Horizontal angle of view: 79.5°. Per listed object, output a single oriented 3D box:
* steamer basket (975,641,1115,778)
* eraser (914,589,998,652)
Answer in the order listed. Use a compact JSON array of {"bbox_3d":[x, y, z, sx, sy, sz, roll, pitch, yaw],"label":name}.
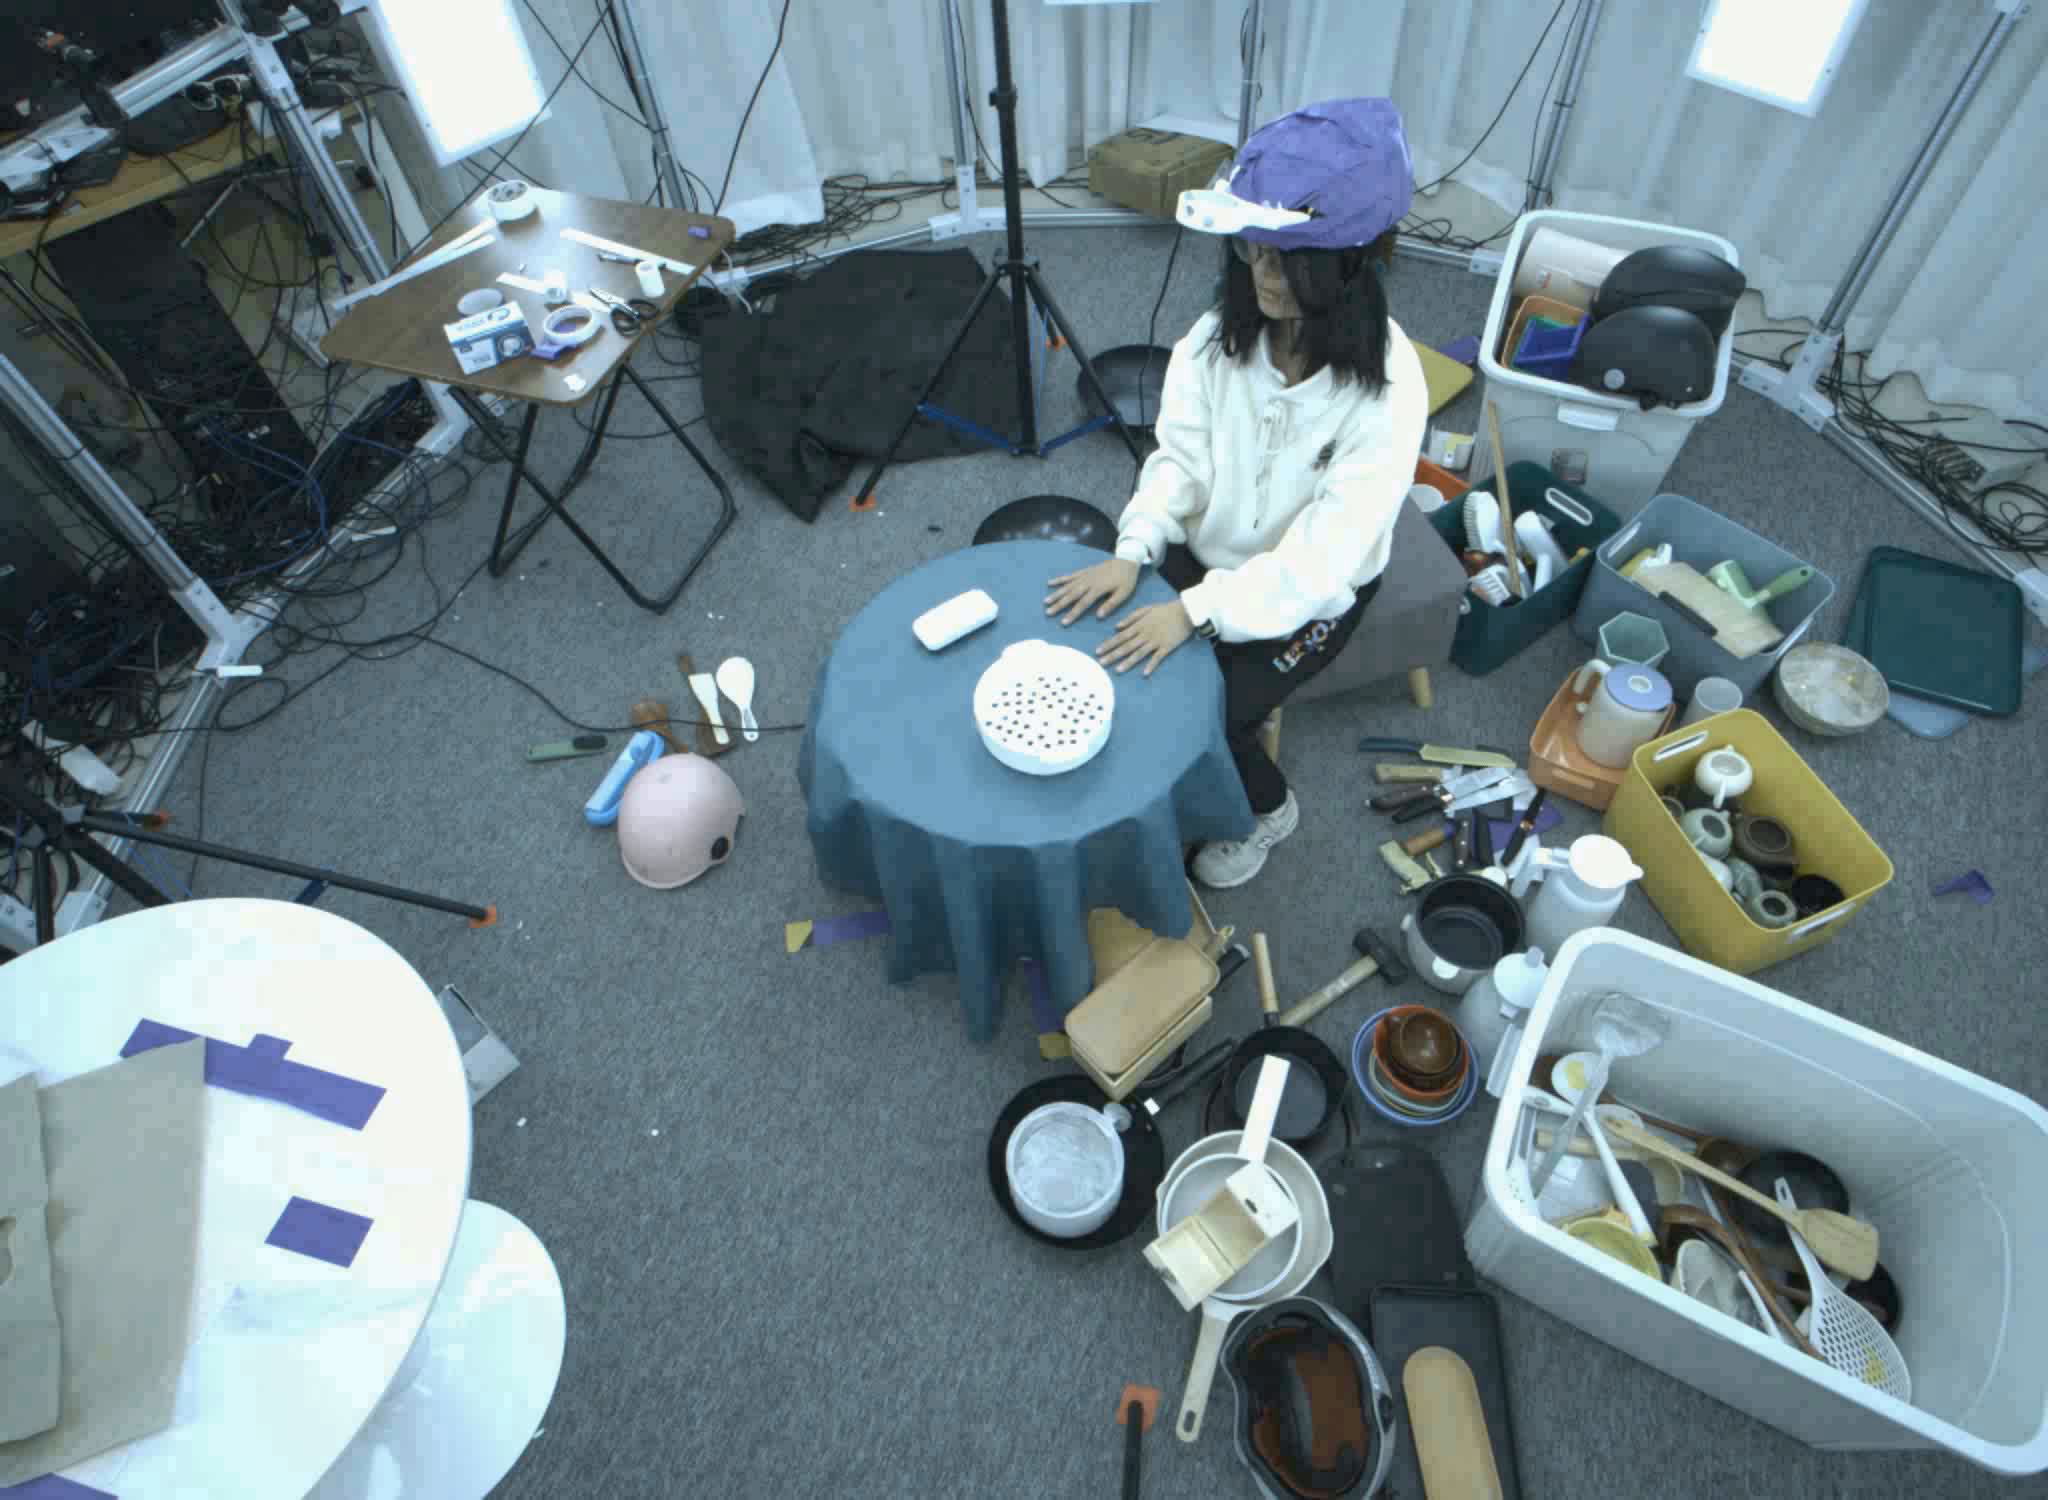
[{"bbox_3d":[0.031,-0.053,1.783,0.203,0.070,0.227,-15,57,-9],"label":"steamer basket"},{"bbox_3d":[-0.106,-0.203,1.916,0.132,0.035,0.062,-30,58,-17],"label":"eraser"}]
